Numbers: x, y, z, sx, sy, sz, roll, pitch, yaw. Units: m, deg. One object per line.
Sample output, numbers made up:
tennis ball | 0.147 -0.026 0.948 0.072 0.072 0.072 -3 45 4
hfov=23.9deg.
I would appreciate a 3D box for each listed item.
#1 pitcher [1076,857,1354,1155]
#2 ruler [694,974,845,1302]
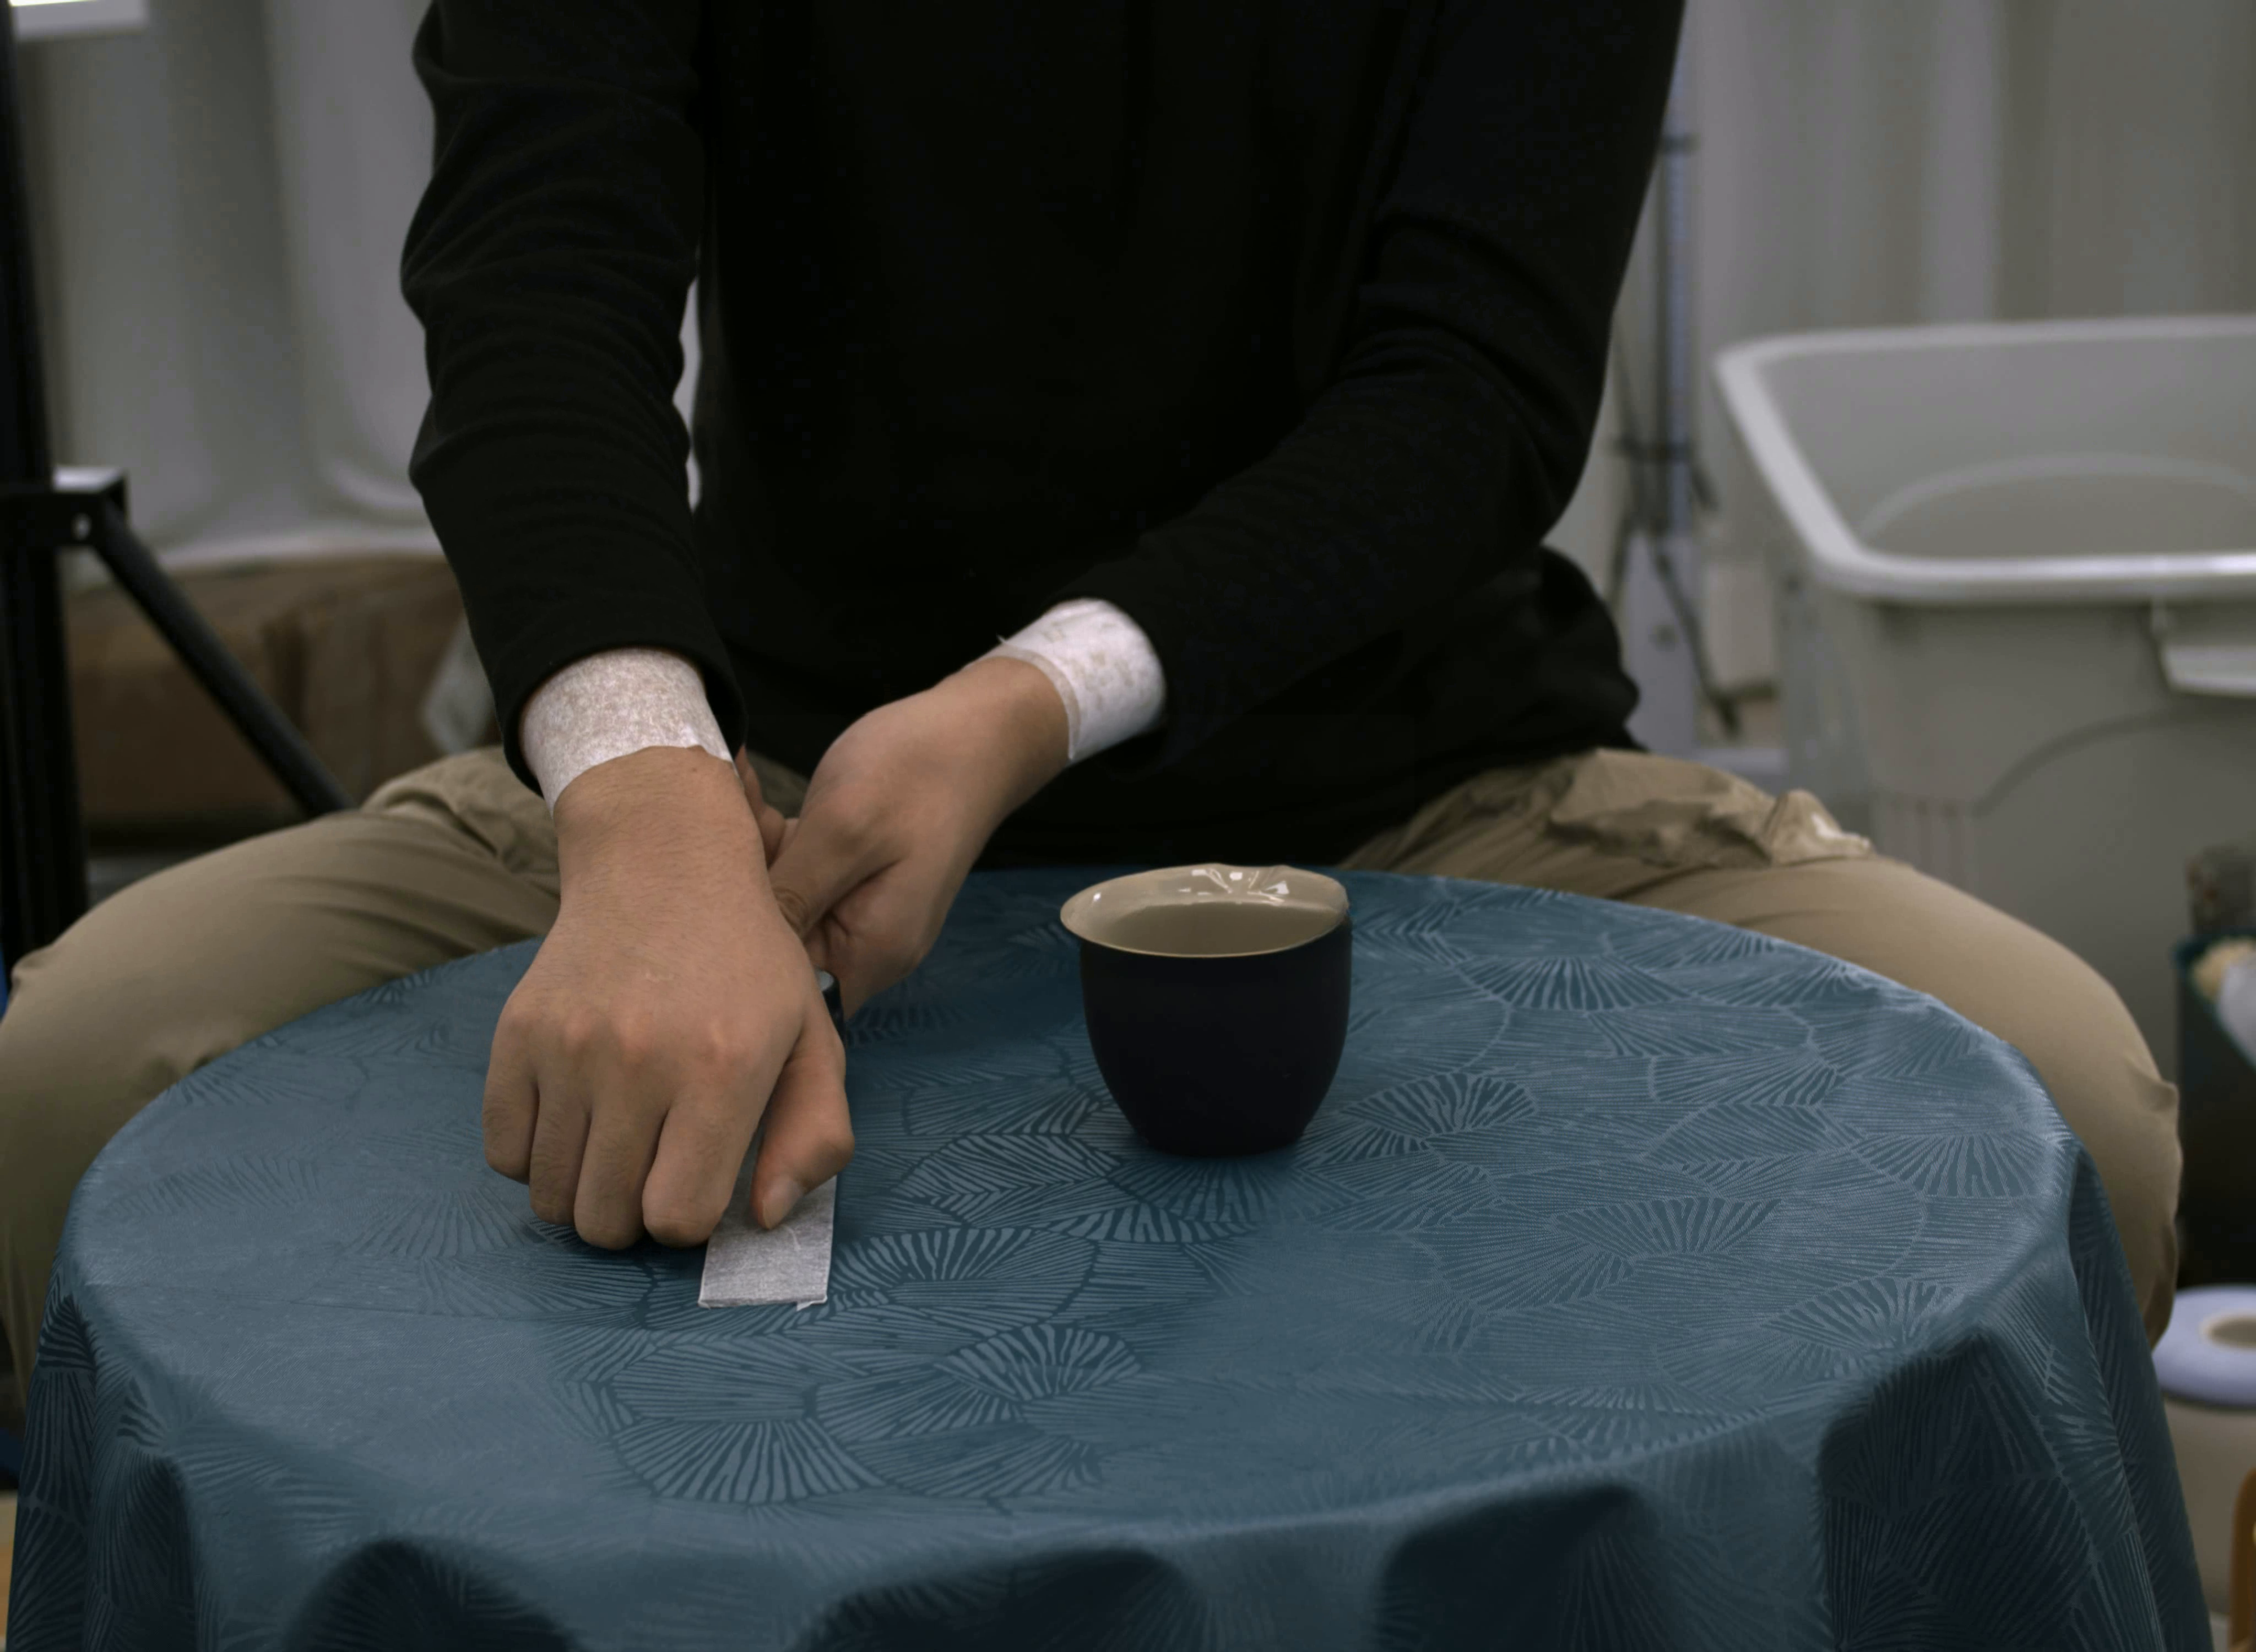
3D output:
pitcher | 0.029 0.056 1.601 0.084 0.071 0.095 1 17 16
ruler | -0.105 0.090 1.580 0.038 0.024 0.219 -6 17 1
